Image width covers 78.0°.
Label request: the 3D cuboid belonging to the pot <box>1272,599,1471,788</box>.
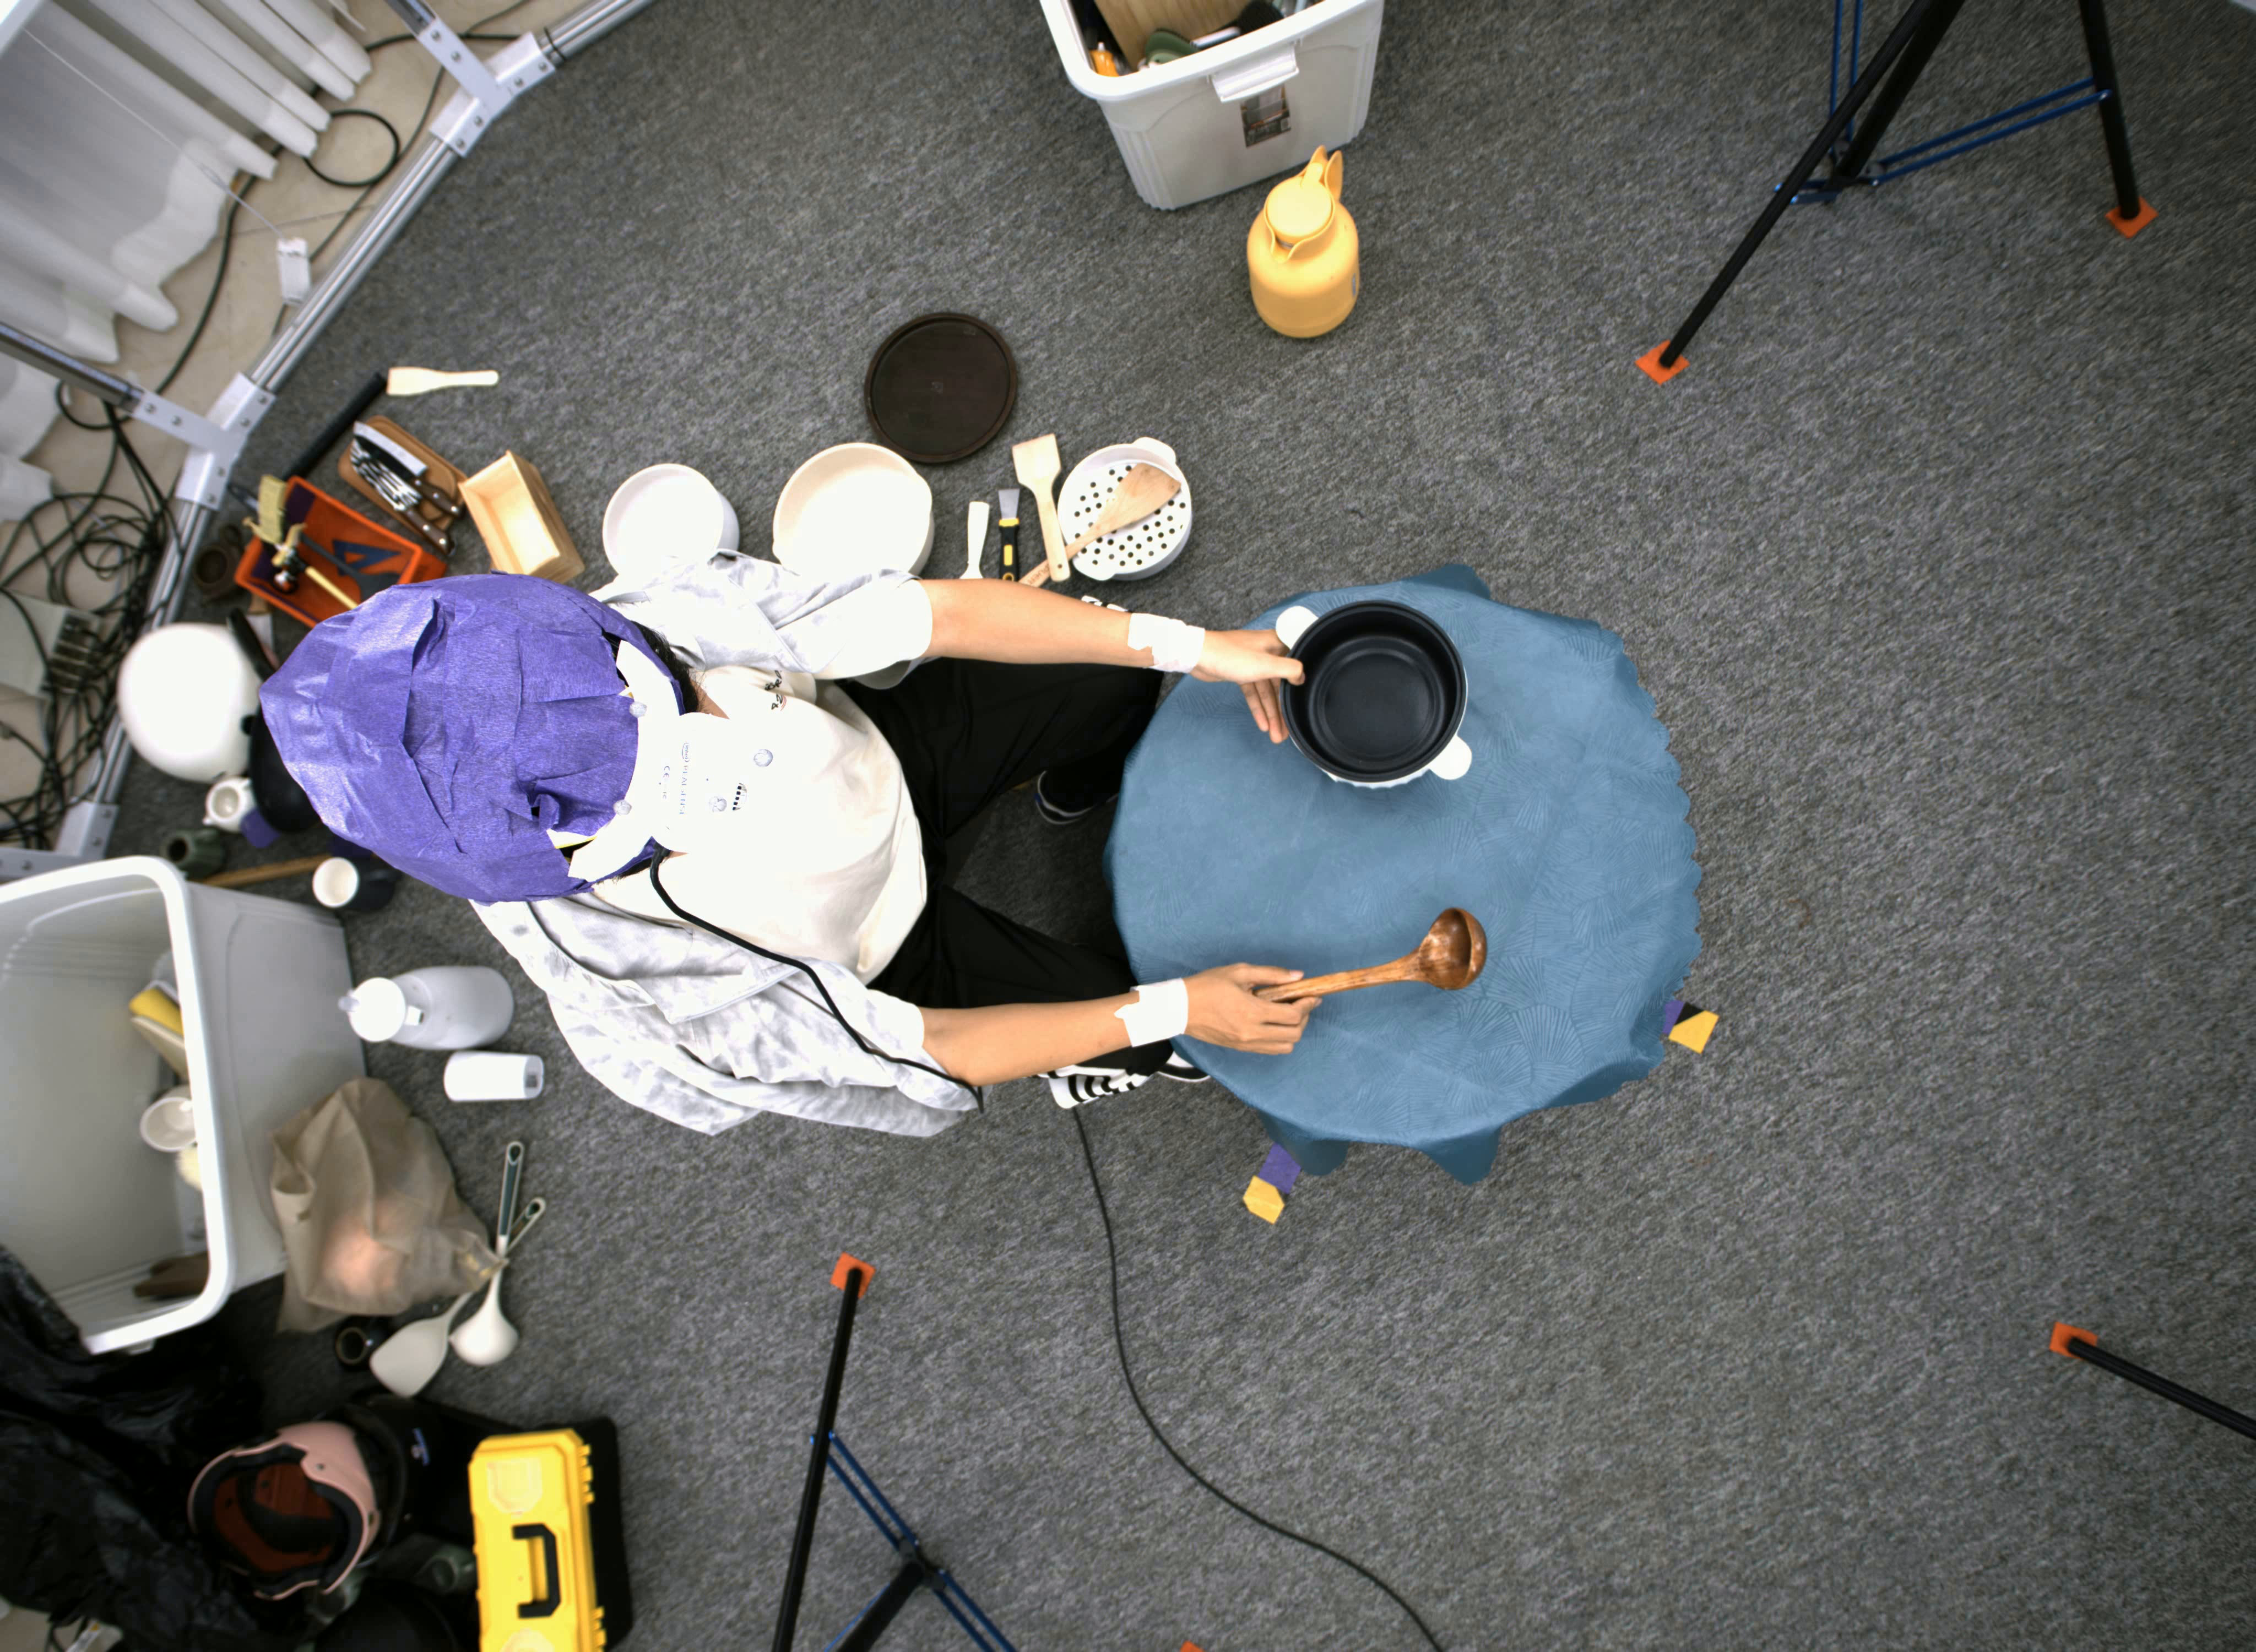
[{"bbox_3d":[0.254,-0.135,1.398,0.239,0.142,0.192,42,101,10],"label":"pot"}]

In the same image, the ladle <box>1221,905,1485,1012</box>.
[{"bbox_3d":[0.217,0.140,1.369,0.276,0.078,0.080,-12,55,15],"label":"ladle"}]
